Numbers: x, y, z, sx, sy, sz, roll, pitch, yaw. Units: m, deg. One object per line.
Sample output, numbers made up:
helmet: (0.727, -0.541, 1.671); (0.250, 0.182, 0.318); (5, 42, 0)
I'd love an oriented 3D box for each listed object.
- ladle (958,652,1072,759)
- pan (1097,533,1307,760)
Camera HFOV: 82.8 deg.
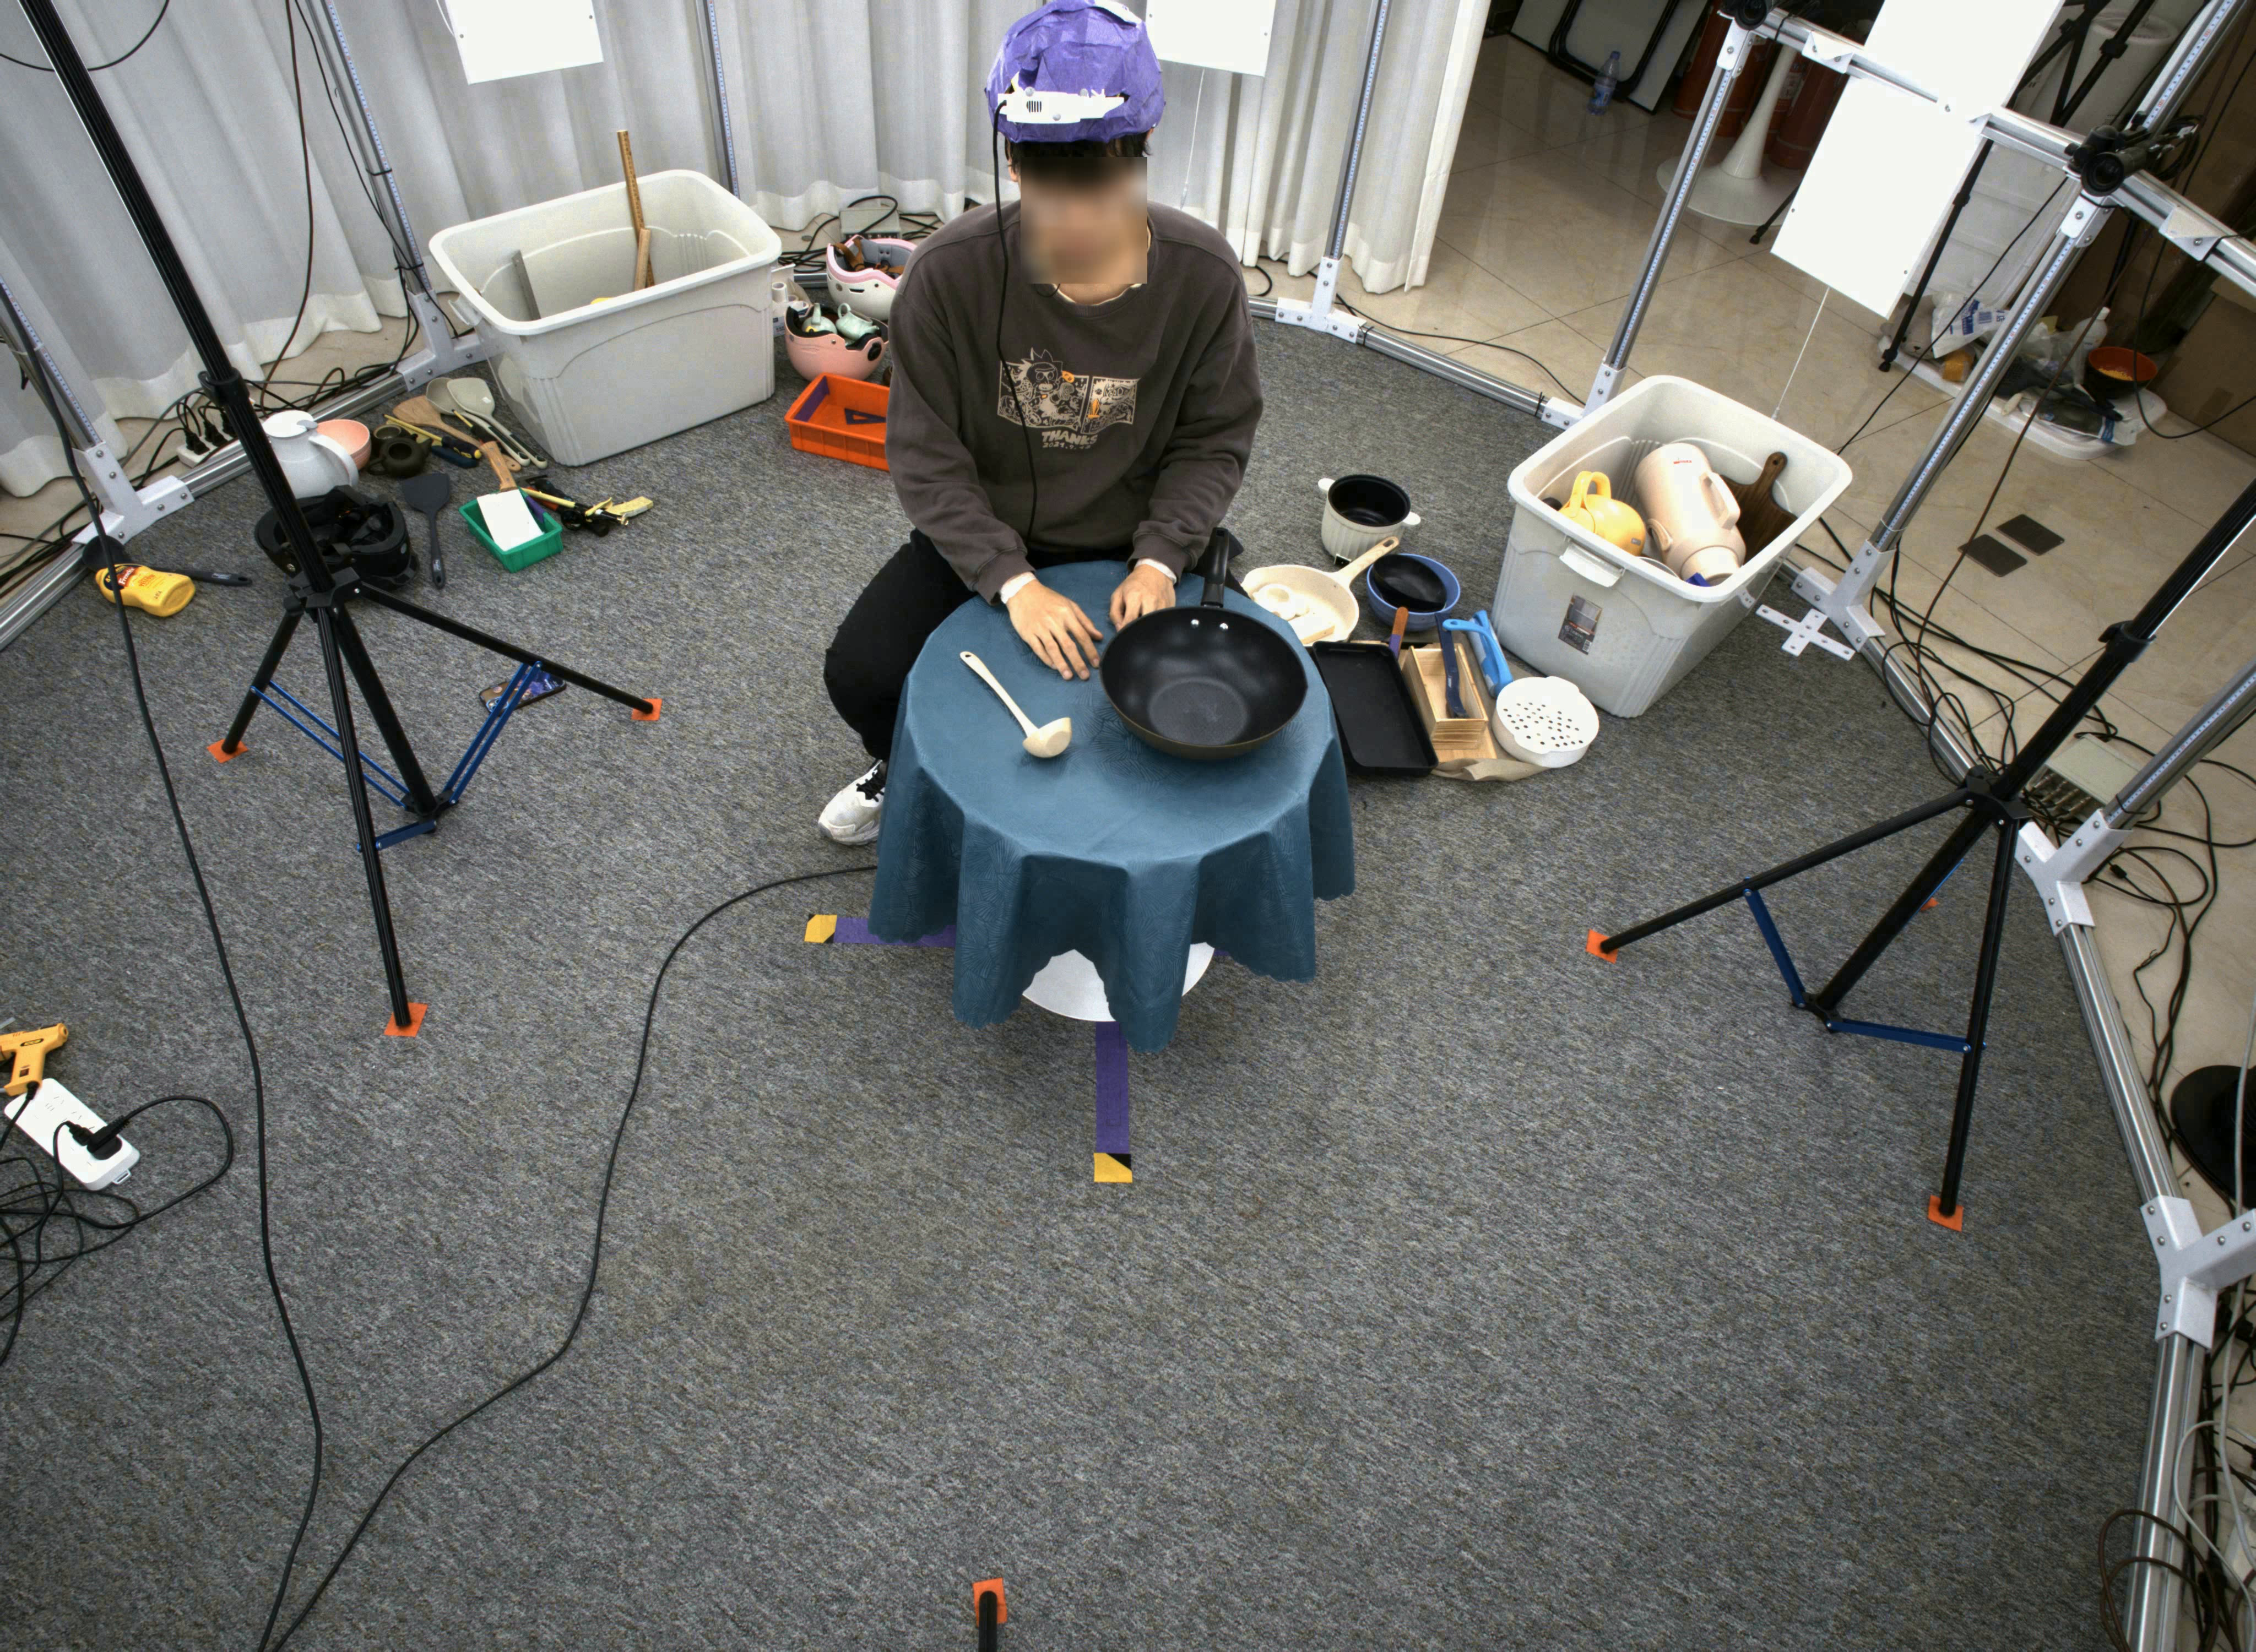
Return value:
ladle: (-0.167, -0.188, 1.771); (0.072, 0.071, 0.259); (-31, 58, -19)
pan: (0.111, -0.253, 1.839); (0.288, 0.085, 0.474); (7, 48, 3)
